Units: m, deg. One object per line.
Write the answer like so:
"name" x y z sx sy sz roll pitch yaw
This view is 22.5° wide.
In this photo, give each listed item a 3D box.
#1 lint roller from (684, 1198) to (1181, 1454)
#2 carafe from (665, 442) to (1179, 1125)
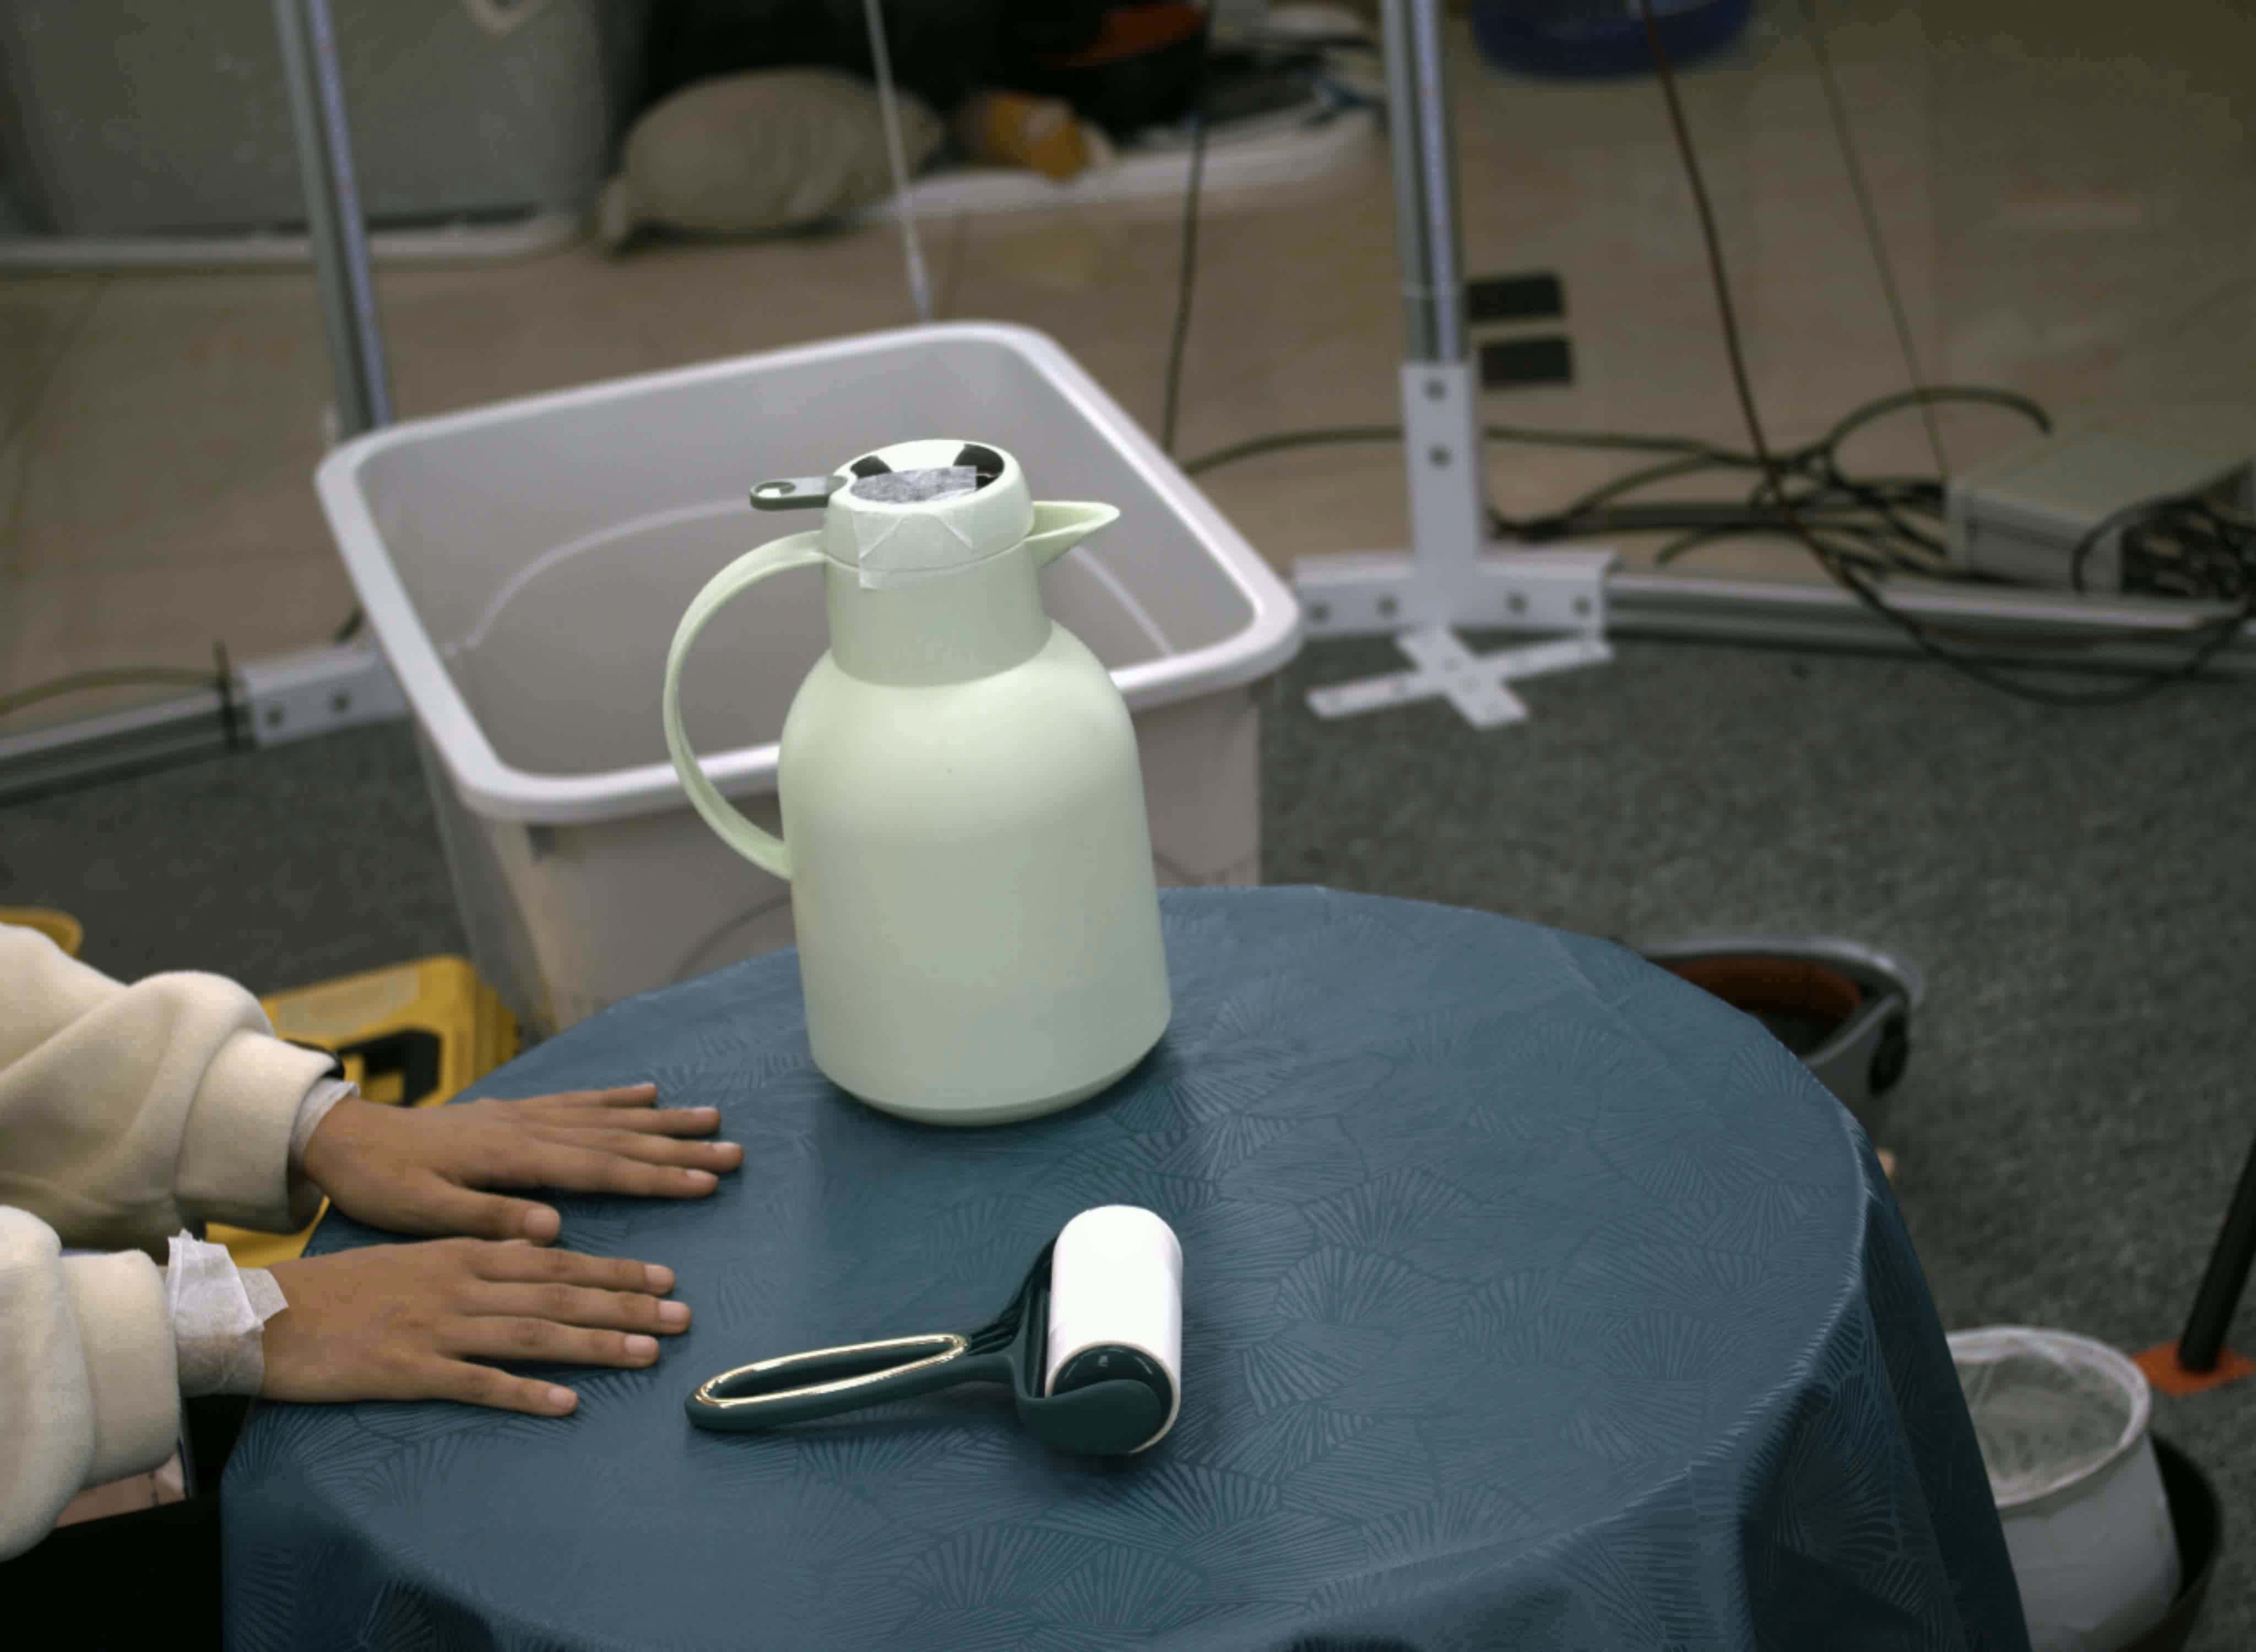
"lint roller" -0.071 0.183 2.014 0.180 0.049 0.132 -5 24 4
"carafe" -0.079 -0.019 2.209 0.186 0.261 0.142 -9 28 3
